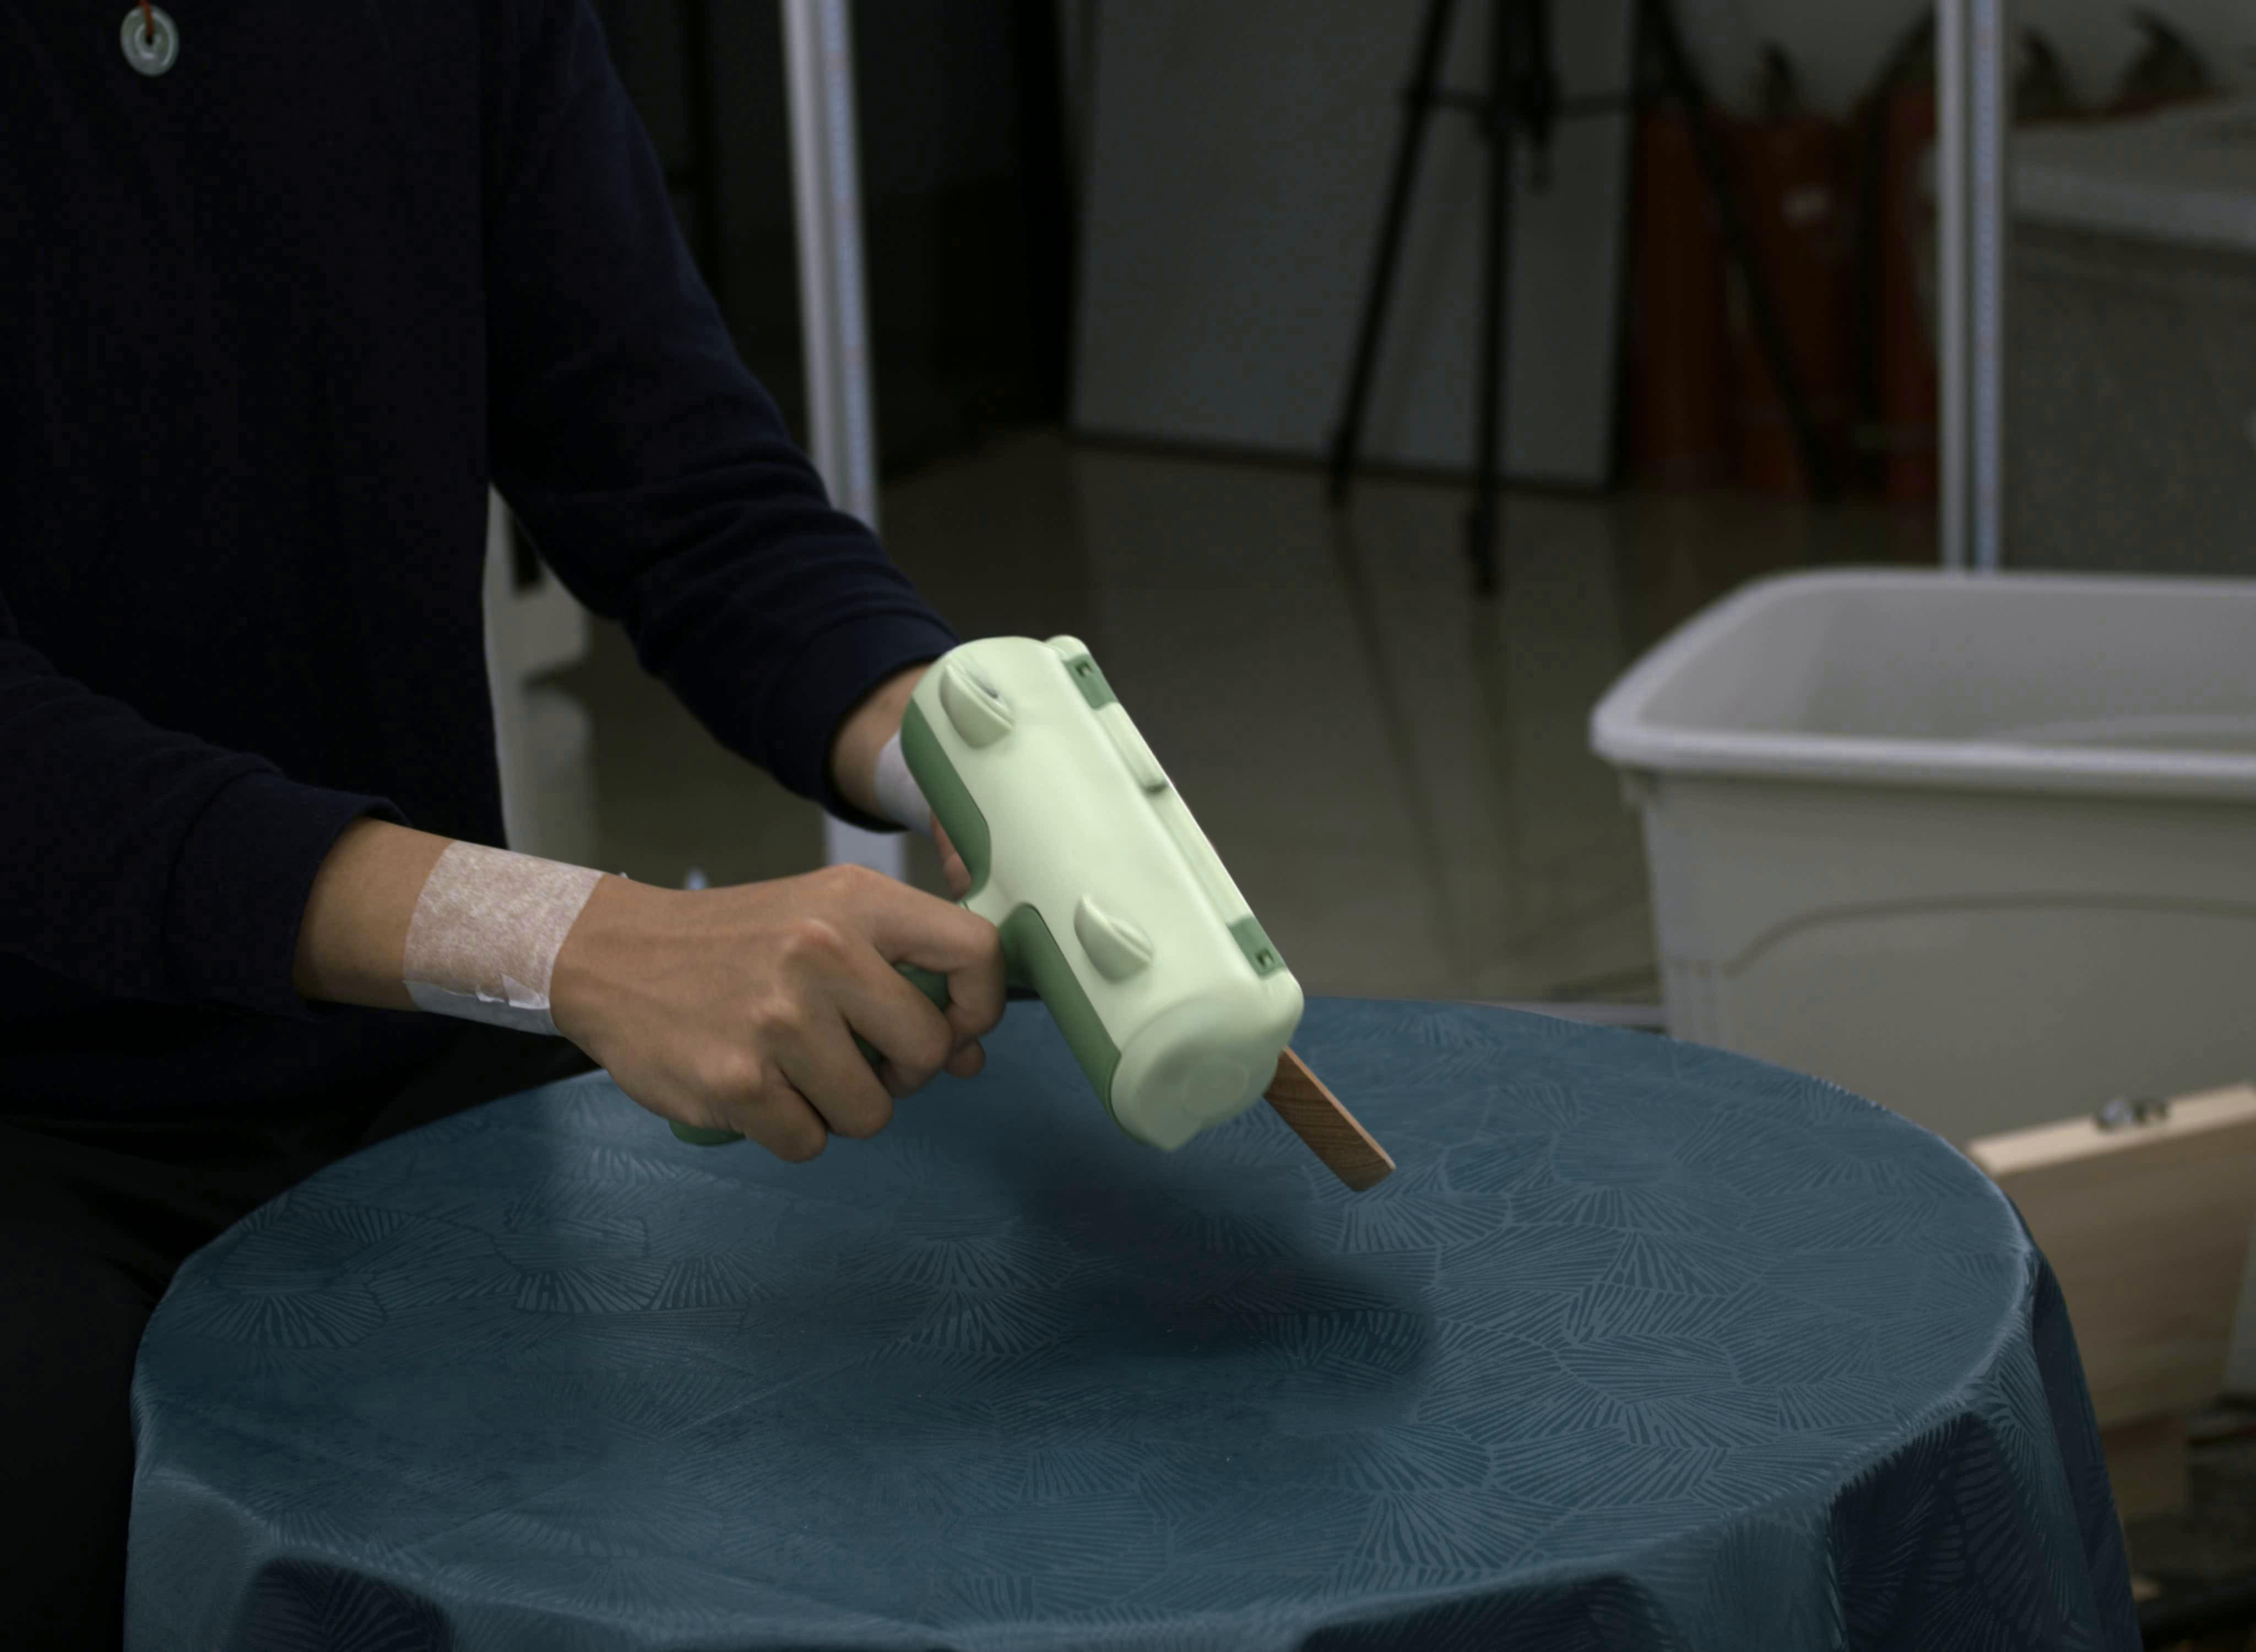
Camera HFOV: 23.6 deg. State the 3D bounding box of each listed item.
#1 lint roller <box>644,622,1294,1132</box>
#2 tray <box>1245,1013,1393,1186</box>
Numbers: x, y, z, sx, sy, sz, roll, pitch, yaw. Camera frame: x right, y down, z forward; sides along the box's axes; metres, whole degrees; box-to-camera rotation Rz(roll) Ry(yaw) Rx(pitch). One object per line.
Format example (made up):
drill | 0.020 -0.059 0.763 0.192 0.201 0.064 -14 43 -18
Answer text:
lint roller | -0.067 0.027 1.620 0.181 0.082 0.201 -23 42 -10
tray | 0.012 0.039 1.699 0.020 0.100 0.234 -42 42 -3
